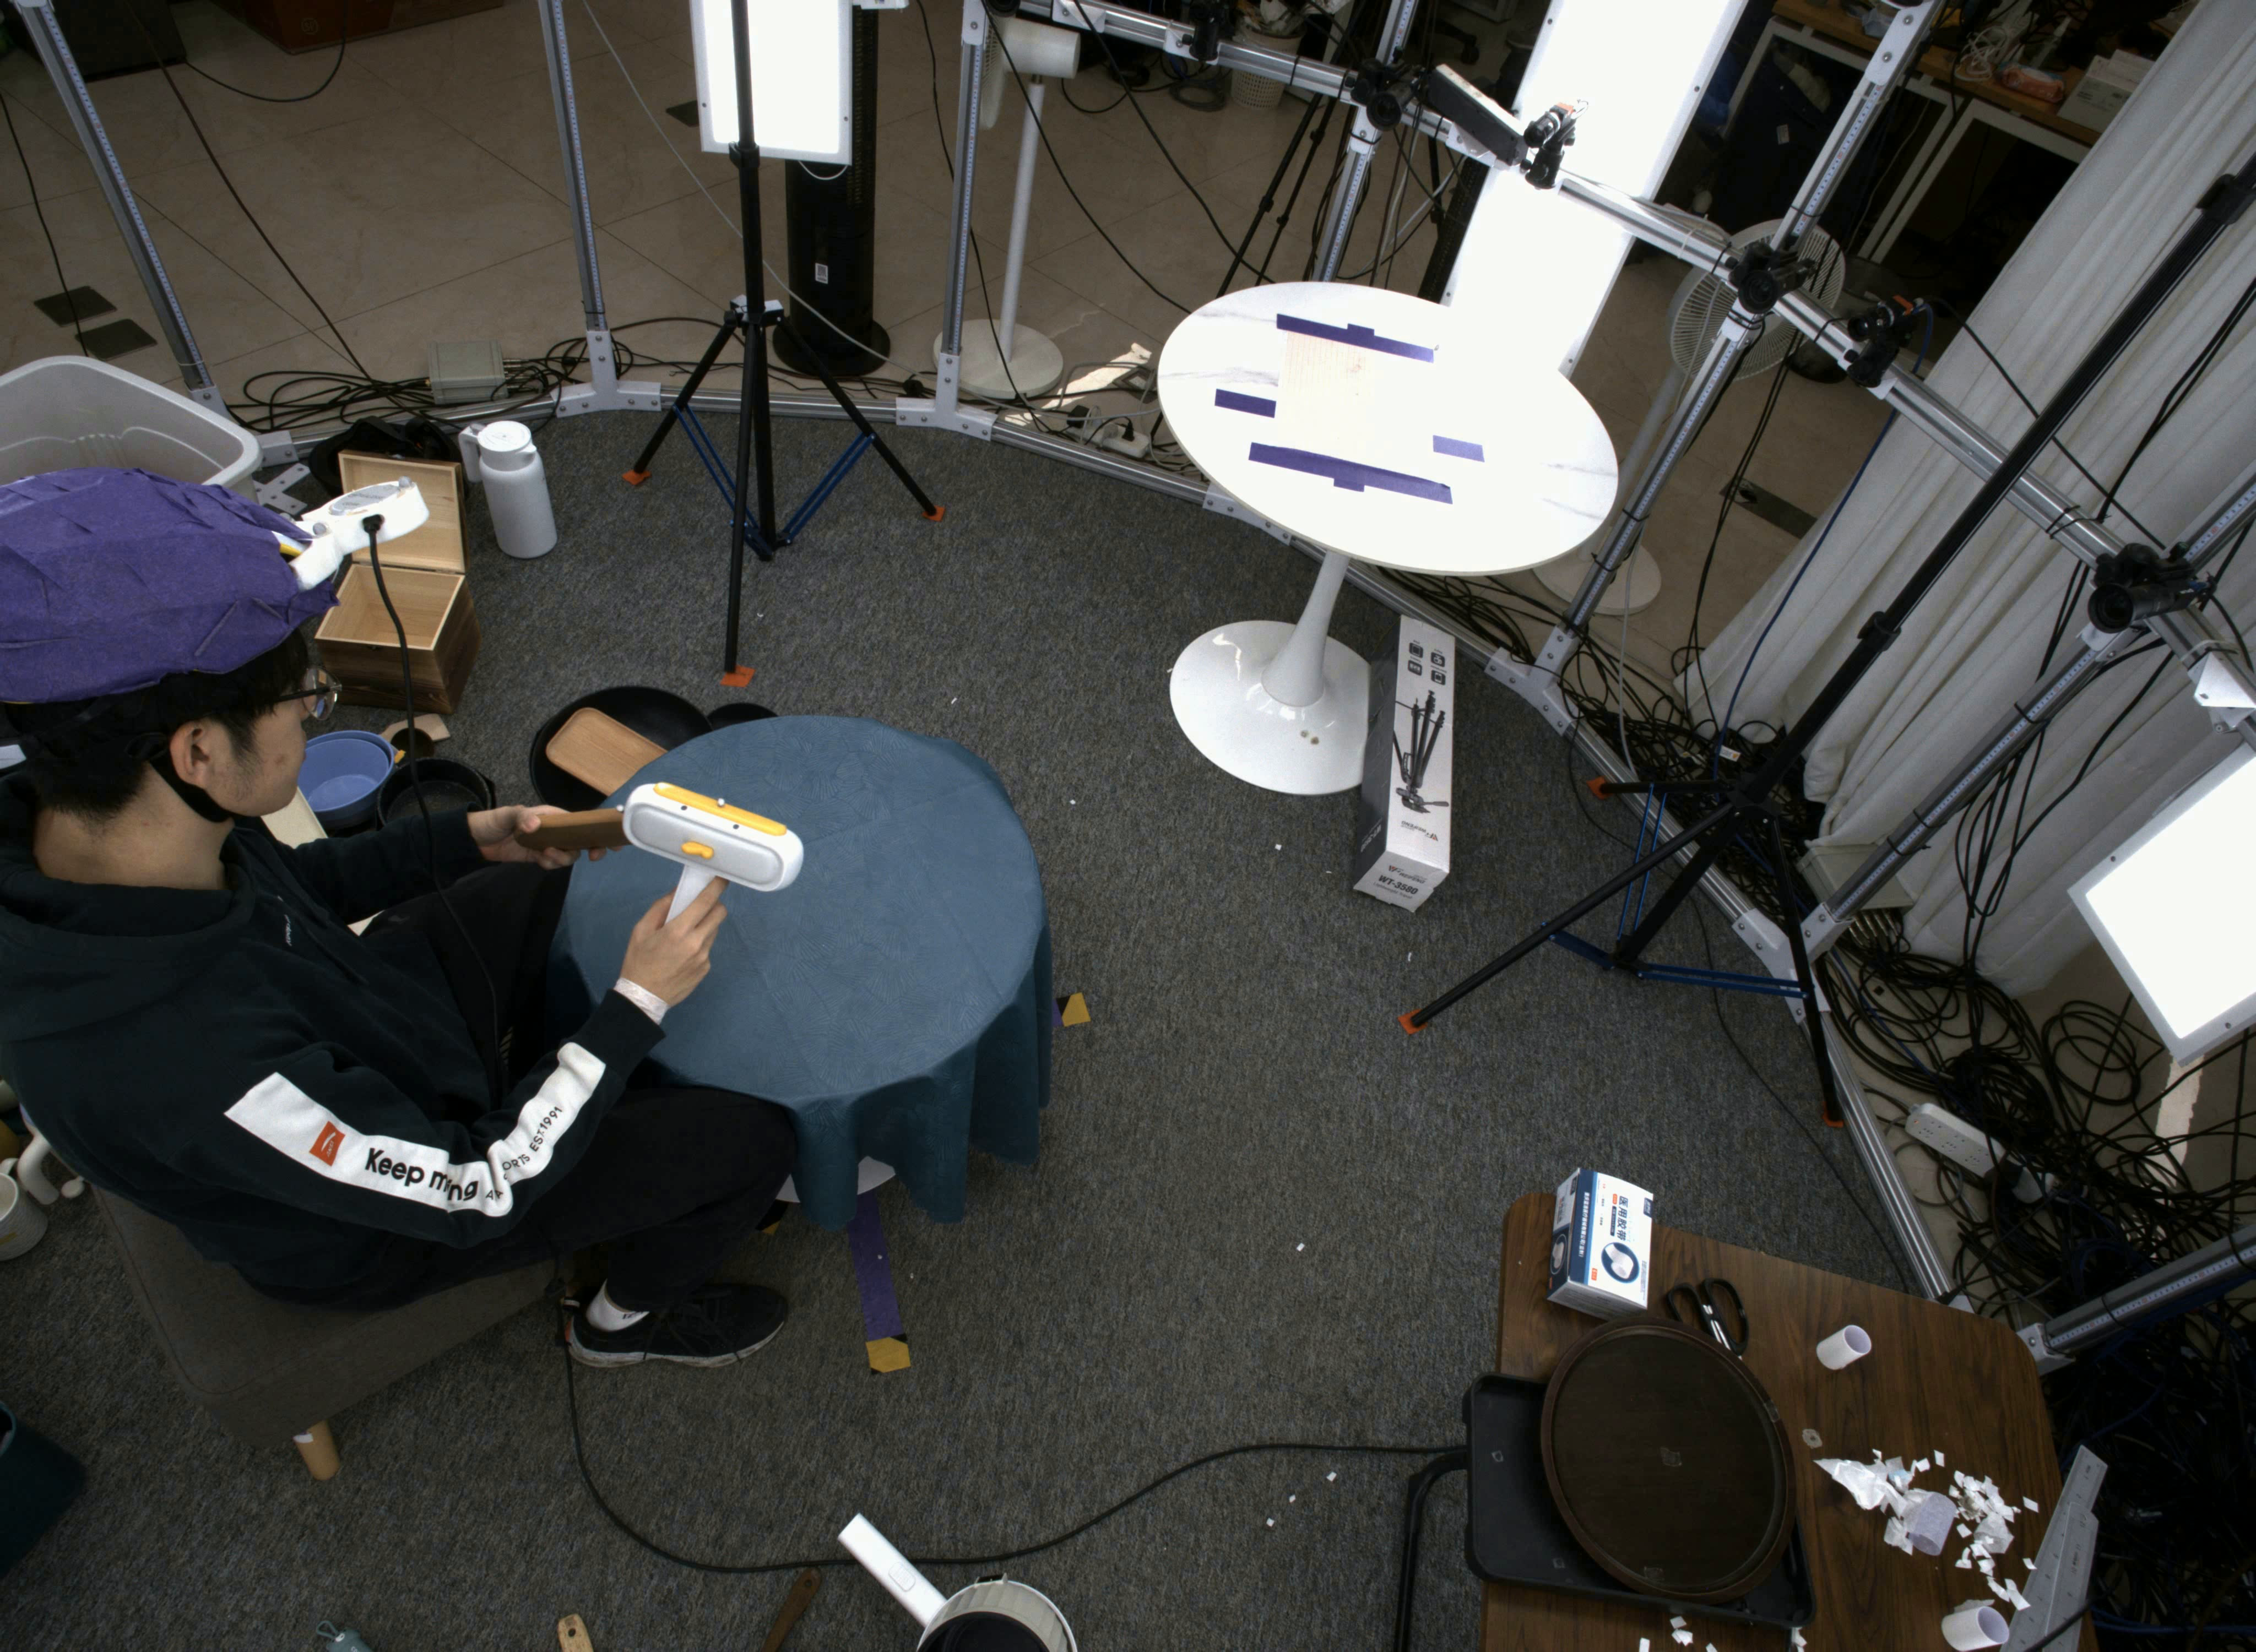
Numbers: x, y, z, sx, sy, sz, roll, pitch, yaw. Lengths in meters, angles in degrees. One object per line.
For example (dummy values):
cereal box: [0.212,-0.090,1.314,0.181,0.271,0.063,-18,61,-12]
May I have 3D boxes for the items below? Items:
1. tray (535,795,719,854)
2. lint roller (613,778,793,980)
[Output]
tray: [-0.564,-0.002,1.424,0.229,0.103,0.020,-7,73,-5]
lint roller: [-0.460,0.062,1.355,0.192,0.196,0.073,14,15,-7]
